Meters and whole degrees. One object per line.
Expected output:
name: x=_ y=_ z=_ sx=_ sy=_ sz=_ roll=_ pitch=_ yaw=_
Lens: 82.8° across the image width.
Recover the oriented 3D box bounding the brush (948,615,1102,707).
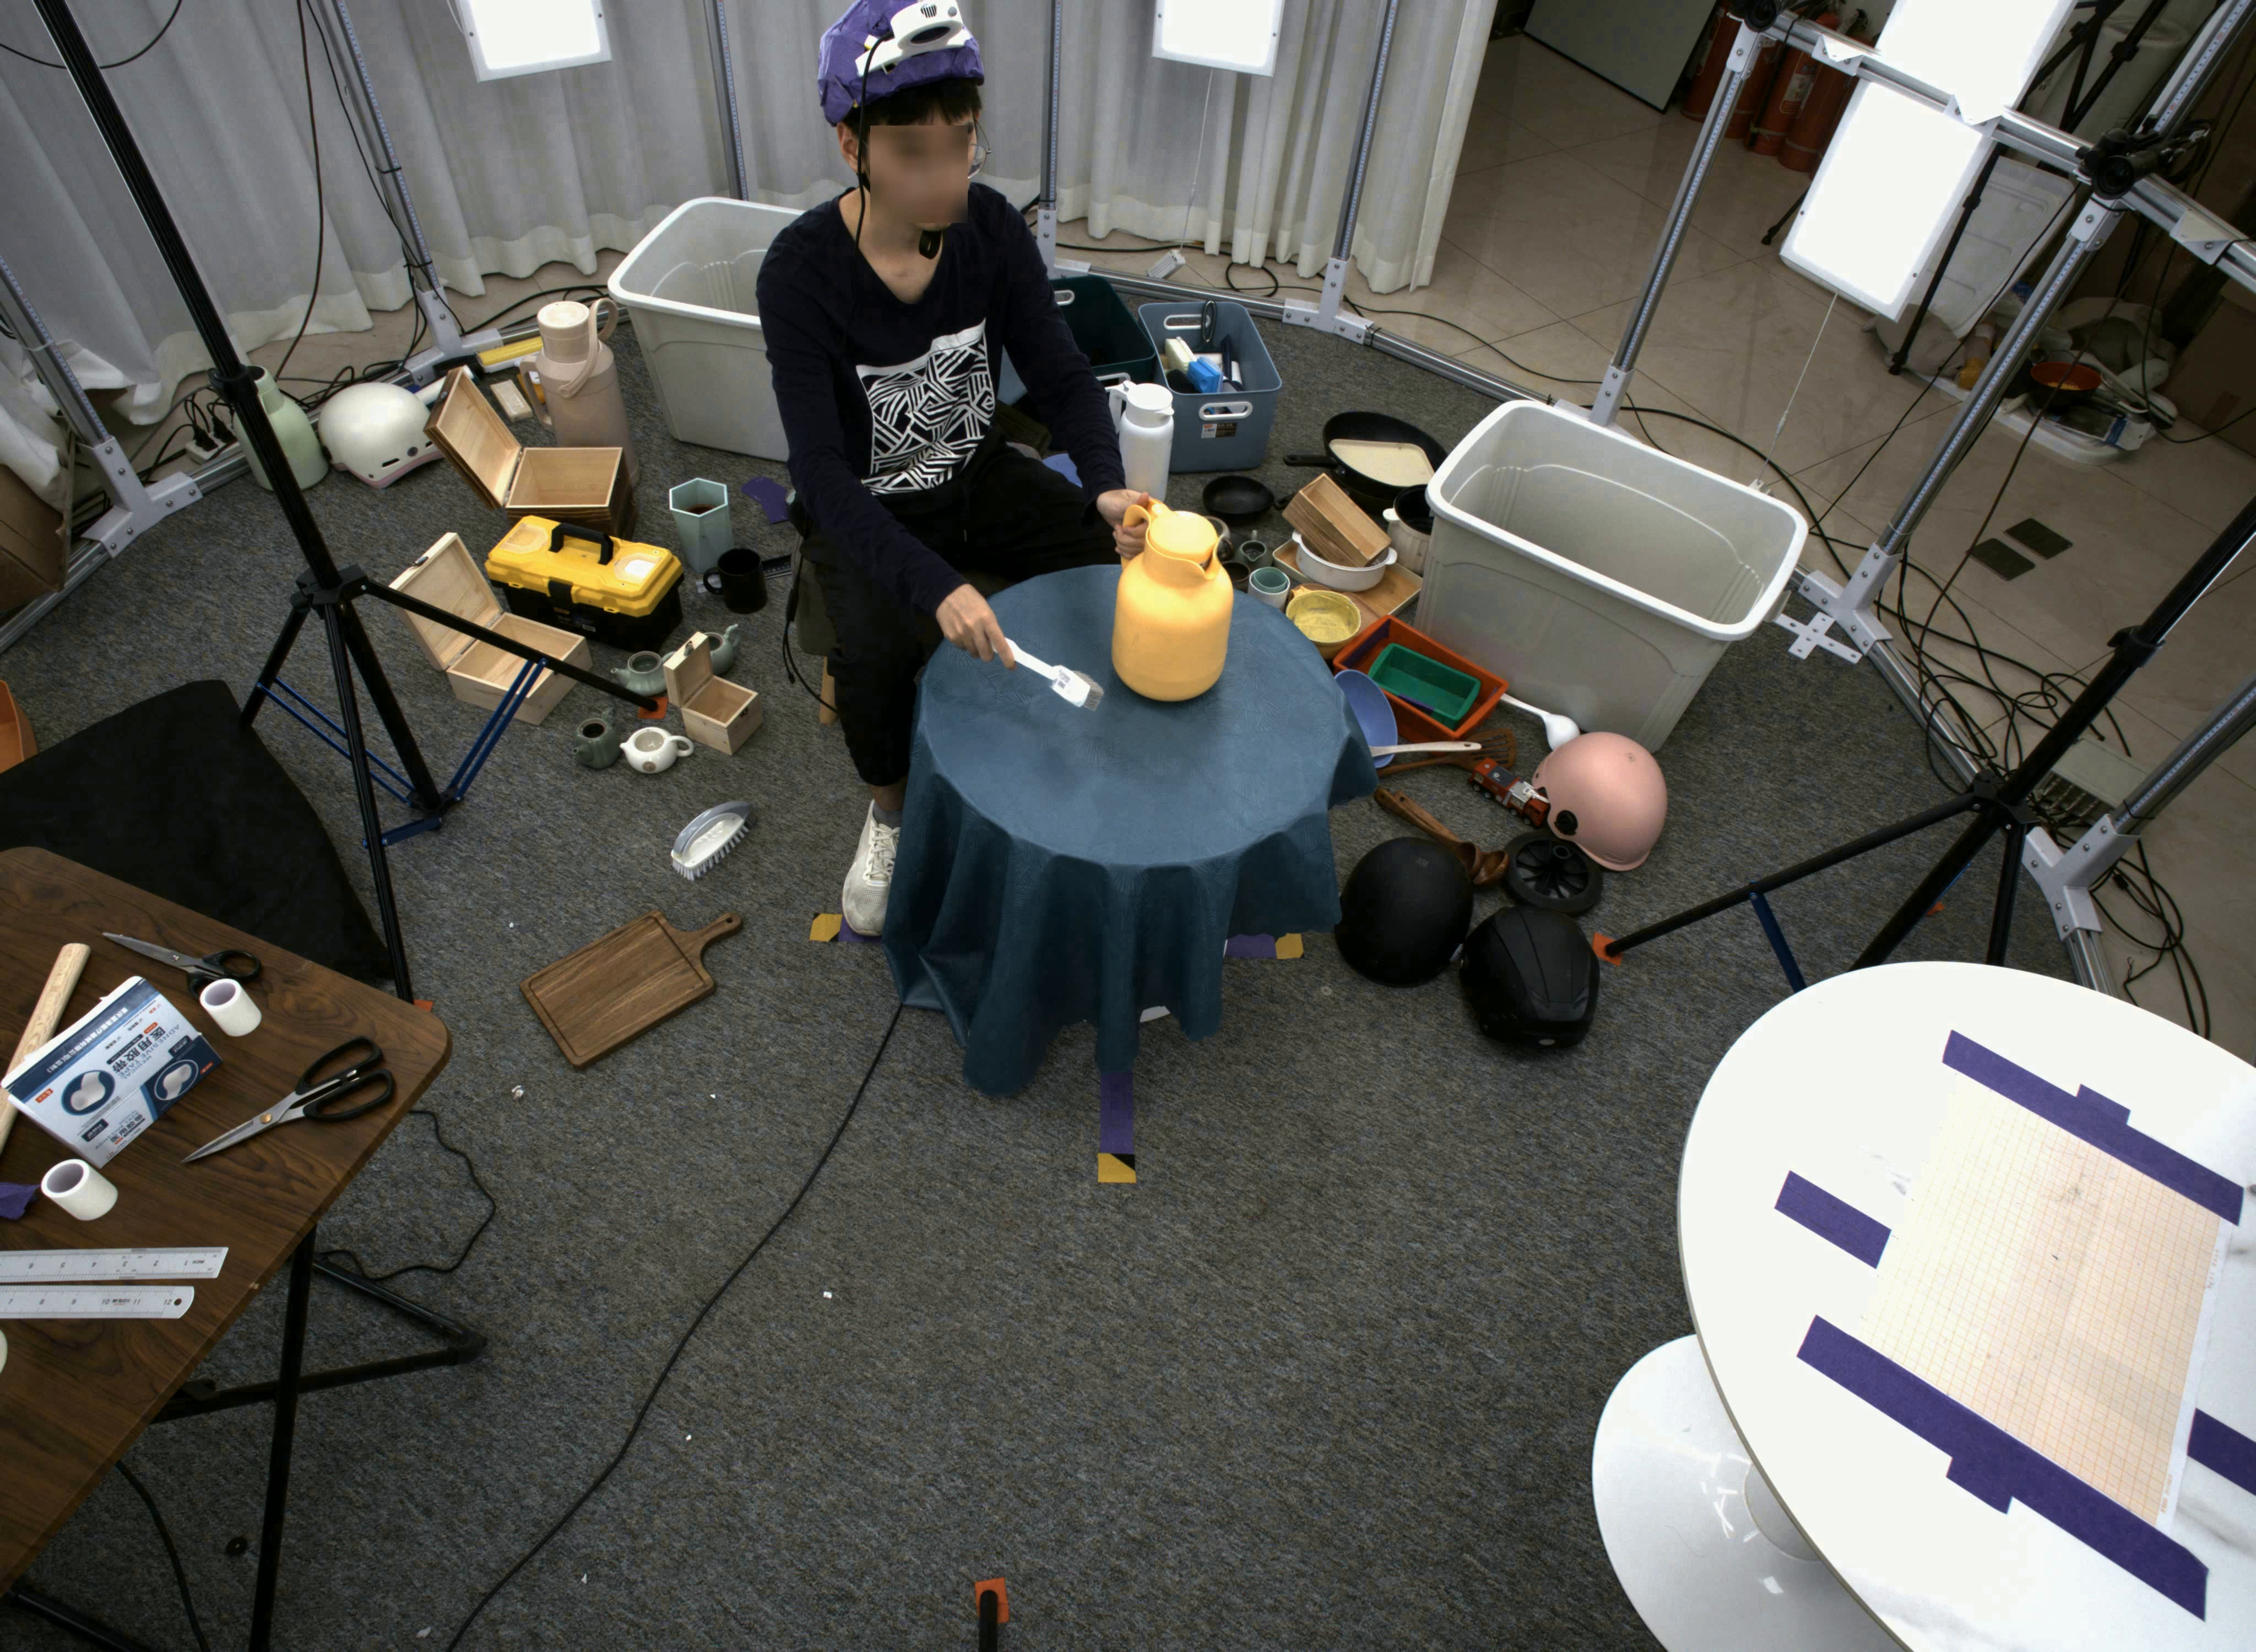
brush: x=-0.139 y=-0.225 z=1.733 sx=0.246 sy=0.034 sz=0.050 roll=30 pitch=17 yaw=23

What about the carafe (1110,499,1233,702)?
carafe: x=0.054 y=-0.320 z=1.782 sx=0.164 sy=0.254 sz=0.206 roll=-20 pitch=54 yaw=-24
